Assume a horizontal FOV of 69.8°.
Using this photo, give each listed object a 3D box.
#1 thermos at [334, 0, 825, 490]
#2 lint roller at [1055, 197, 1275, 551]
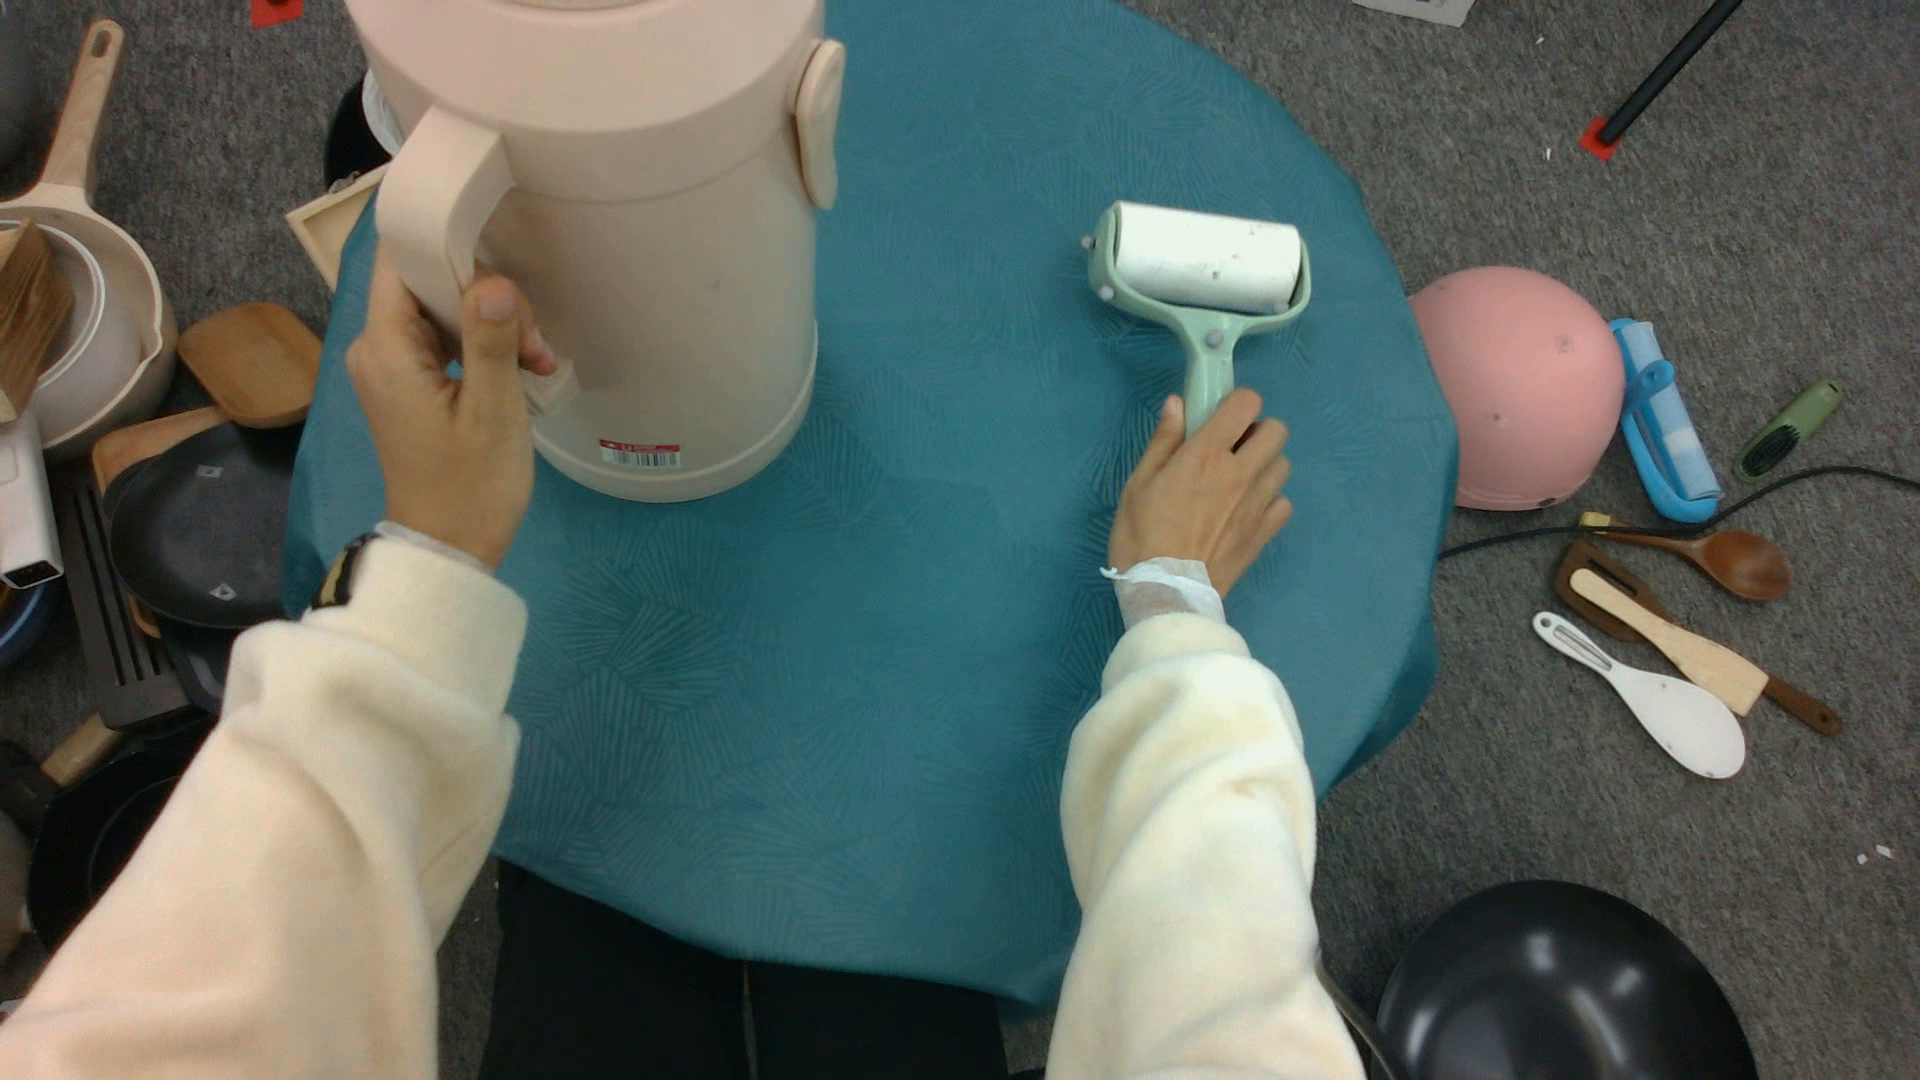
[{"bbox_3d":[-0.146,-0.155,0.536,0.175,0.404,0.208,23,68,1],"label":"thermos"},{"bbox_3d":[0.110,-0.091,0.724,0.117,0.048,0.198,6,64,-11],"label":"lint roller"}]
